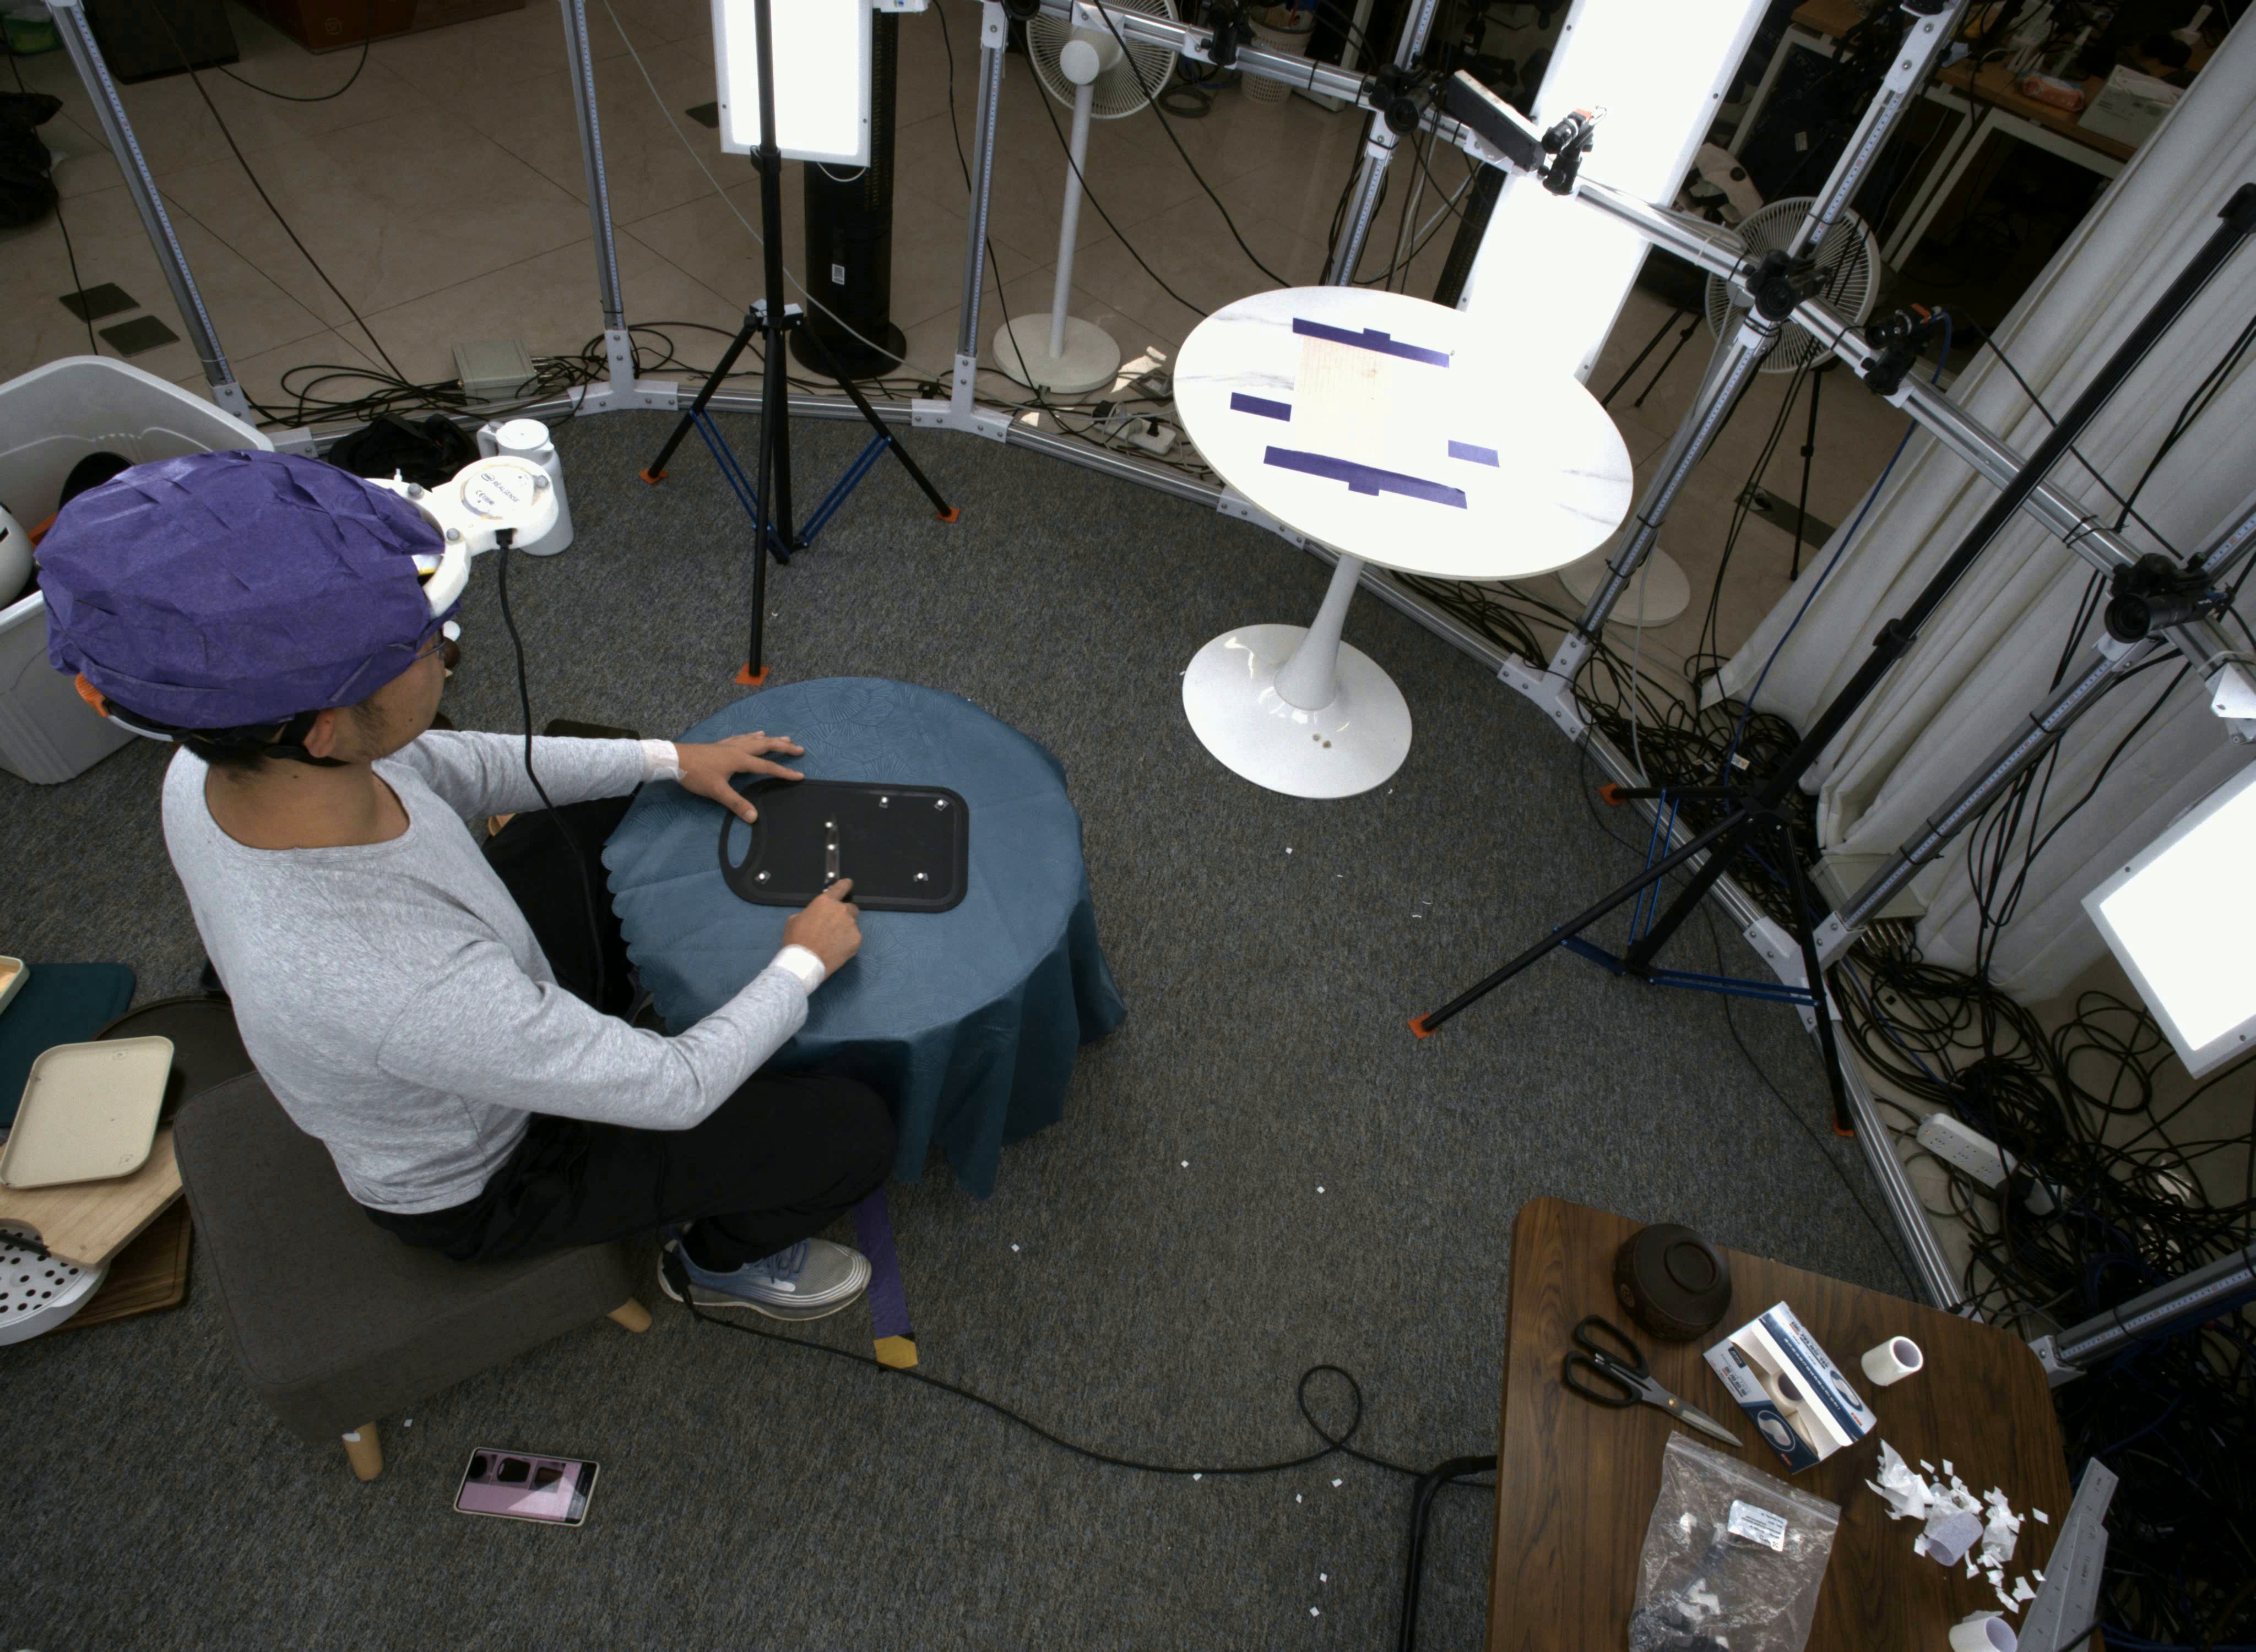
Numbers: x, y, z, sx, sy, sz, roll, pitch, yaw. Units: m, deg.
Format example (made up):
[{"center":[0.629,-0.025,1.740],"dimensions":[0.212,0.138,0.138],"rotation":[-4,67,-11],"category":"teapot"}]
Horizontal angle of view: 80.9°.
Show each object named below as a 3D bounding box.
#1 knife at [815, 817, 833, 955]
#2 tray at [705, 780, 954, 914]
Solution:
[{"center":[-0.393,0.068,1.670],"dimensions":[0.024,0.017,0.232],"rotation":[-27,46,14],"category":"knife"},{"center":[-0.393,0.024,1.722],"dimensions":[0.325,0.010,0.207],"rotation":[3,53,-12],"category":"tray"}]
